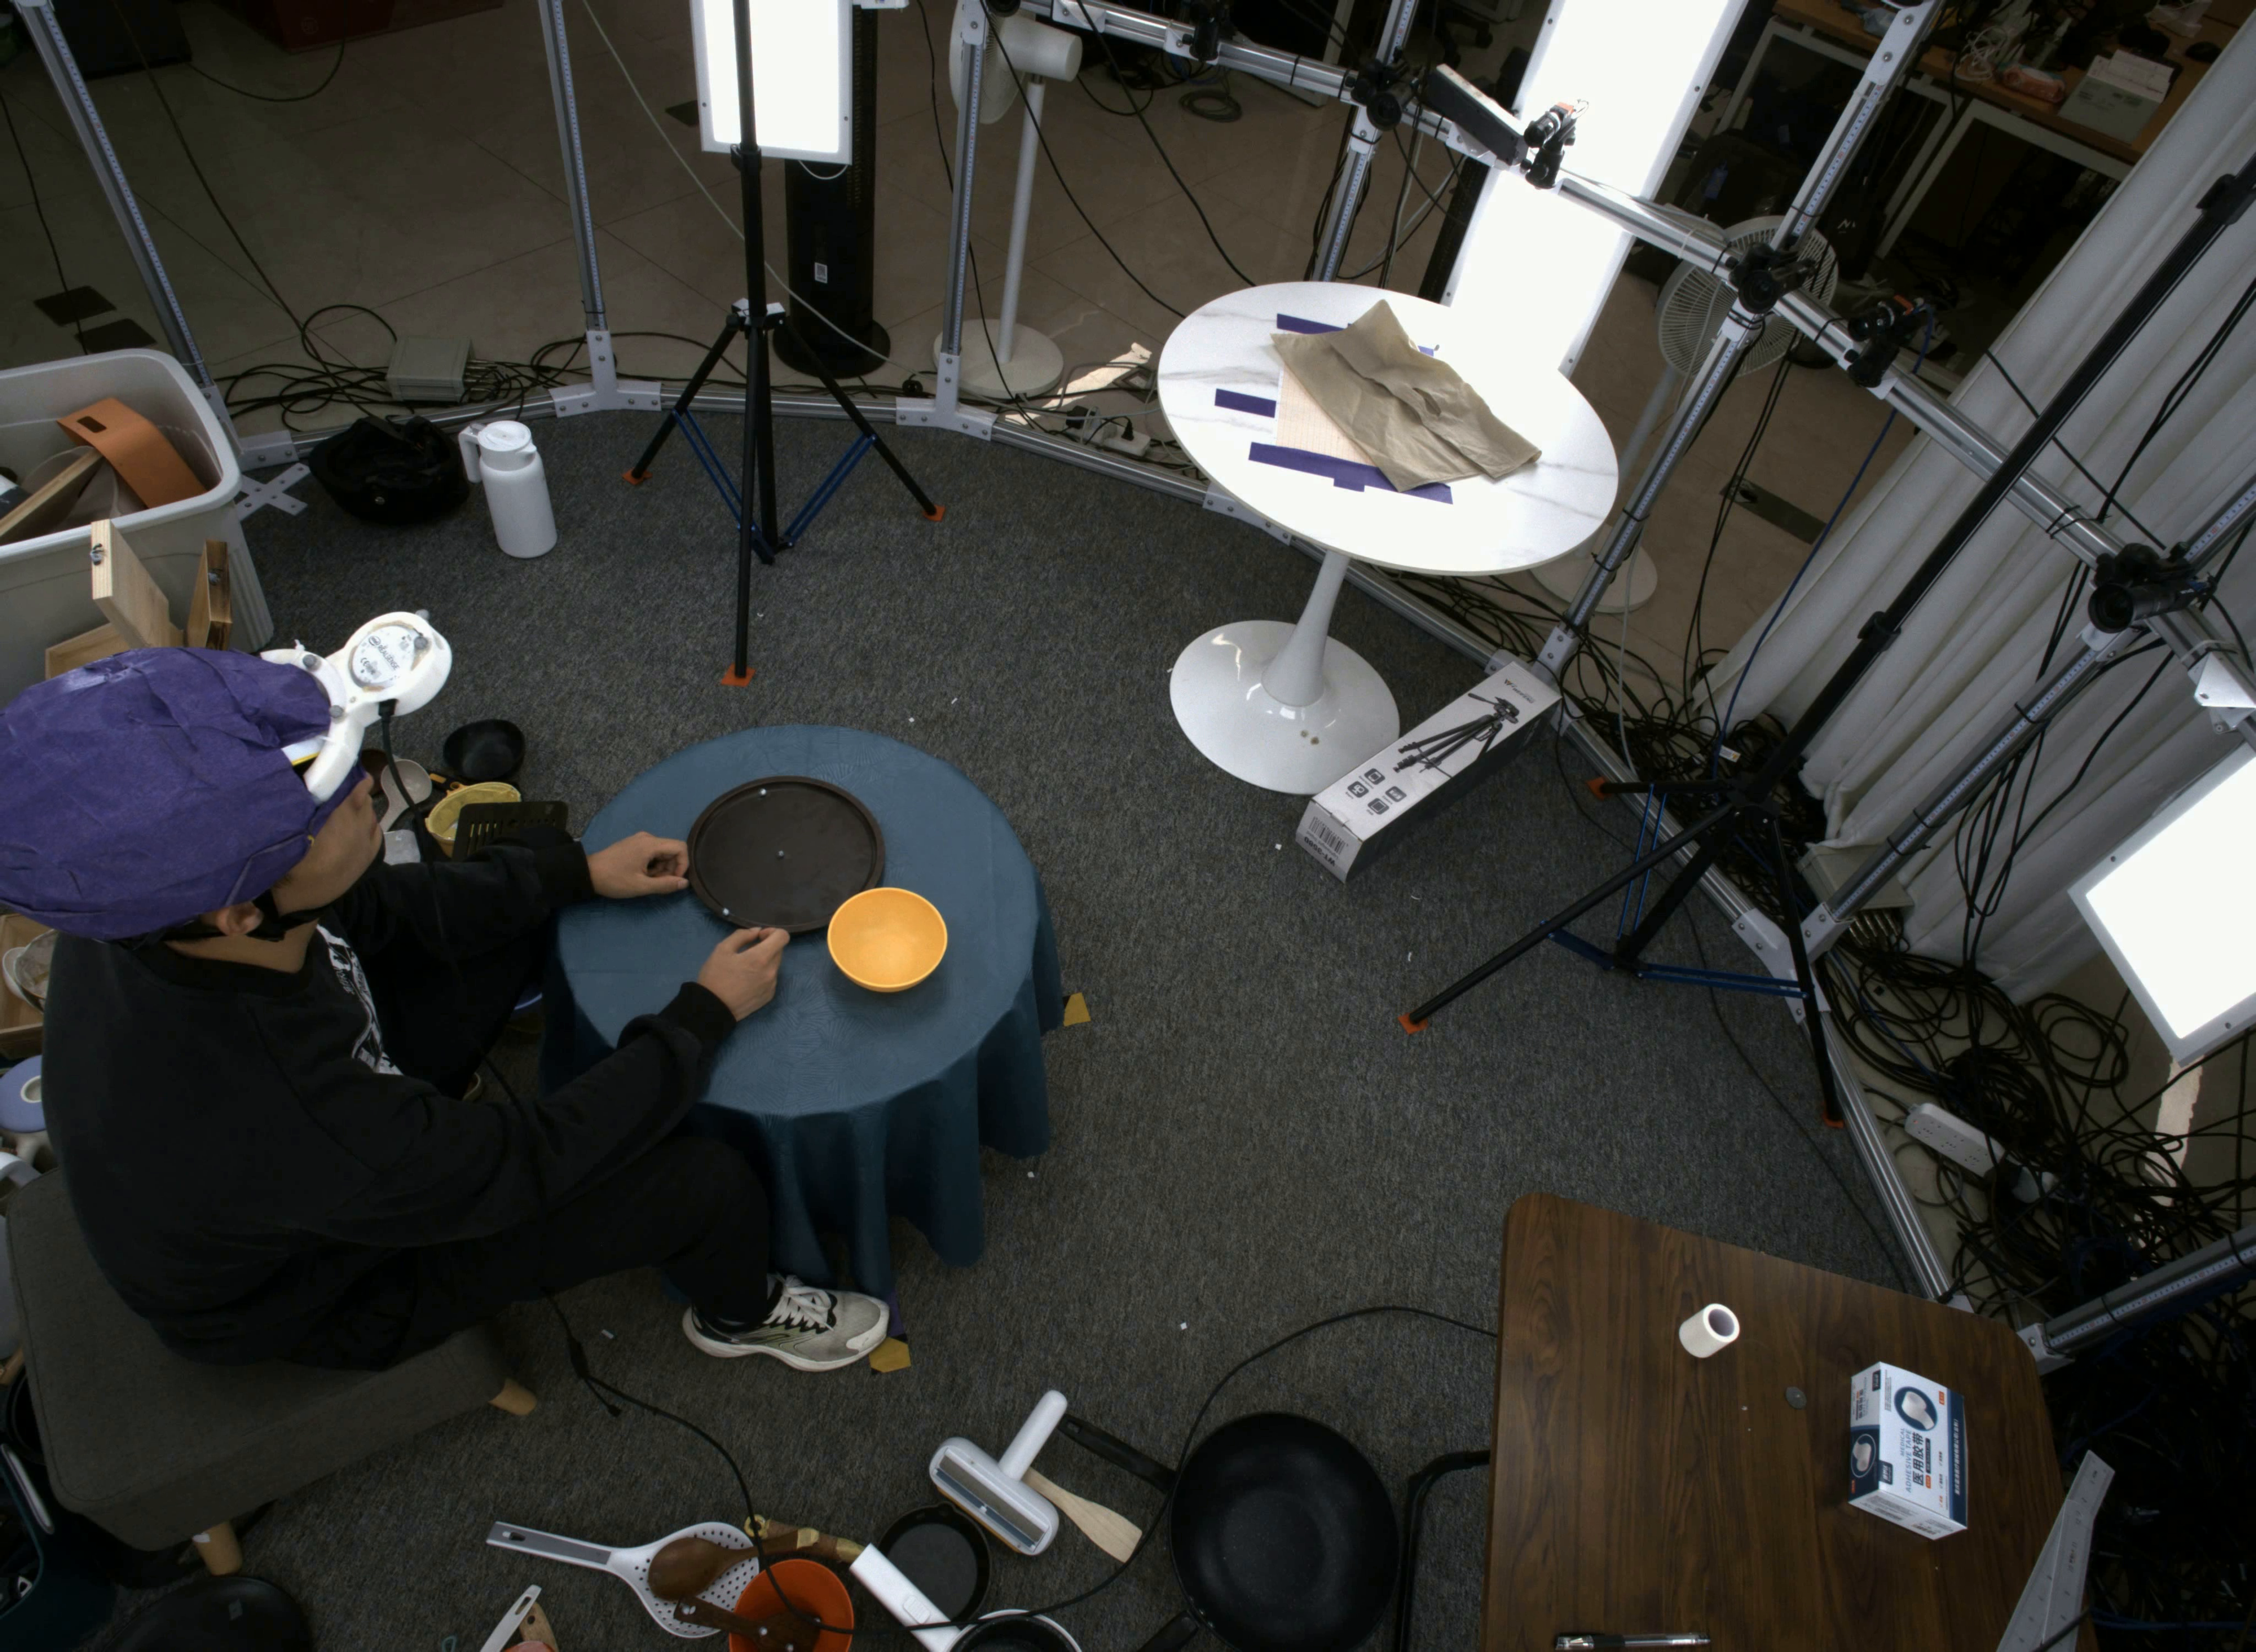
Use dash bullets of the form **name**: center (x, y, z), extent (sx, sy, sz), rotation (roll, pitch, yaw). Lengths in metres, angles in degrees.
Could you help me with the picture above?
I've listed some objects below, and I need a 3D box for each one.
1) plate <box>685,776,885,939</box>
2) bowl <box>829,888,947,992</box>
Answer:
- **plate**: center (-0.444, 0.037, 1.682), extent (0.254, 0.029, 0.250), rotation (8, 54, -10)
- **bowl**: center (-0.297, 0.151, 1.614), extent (0.144, 0.061, 0.143), rotation (6, 53, -6)
